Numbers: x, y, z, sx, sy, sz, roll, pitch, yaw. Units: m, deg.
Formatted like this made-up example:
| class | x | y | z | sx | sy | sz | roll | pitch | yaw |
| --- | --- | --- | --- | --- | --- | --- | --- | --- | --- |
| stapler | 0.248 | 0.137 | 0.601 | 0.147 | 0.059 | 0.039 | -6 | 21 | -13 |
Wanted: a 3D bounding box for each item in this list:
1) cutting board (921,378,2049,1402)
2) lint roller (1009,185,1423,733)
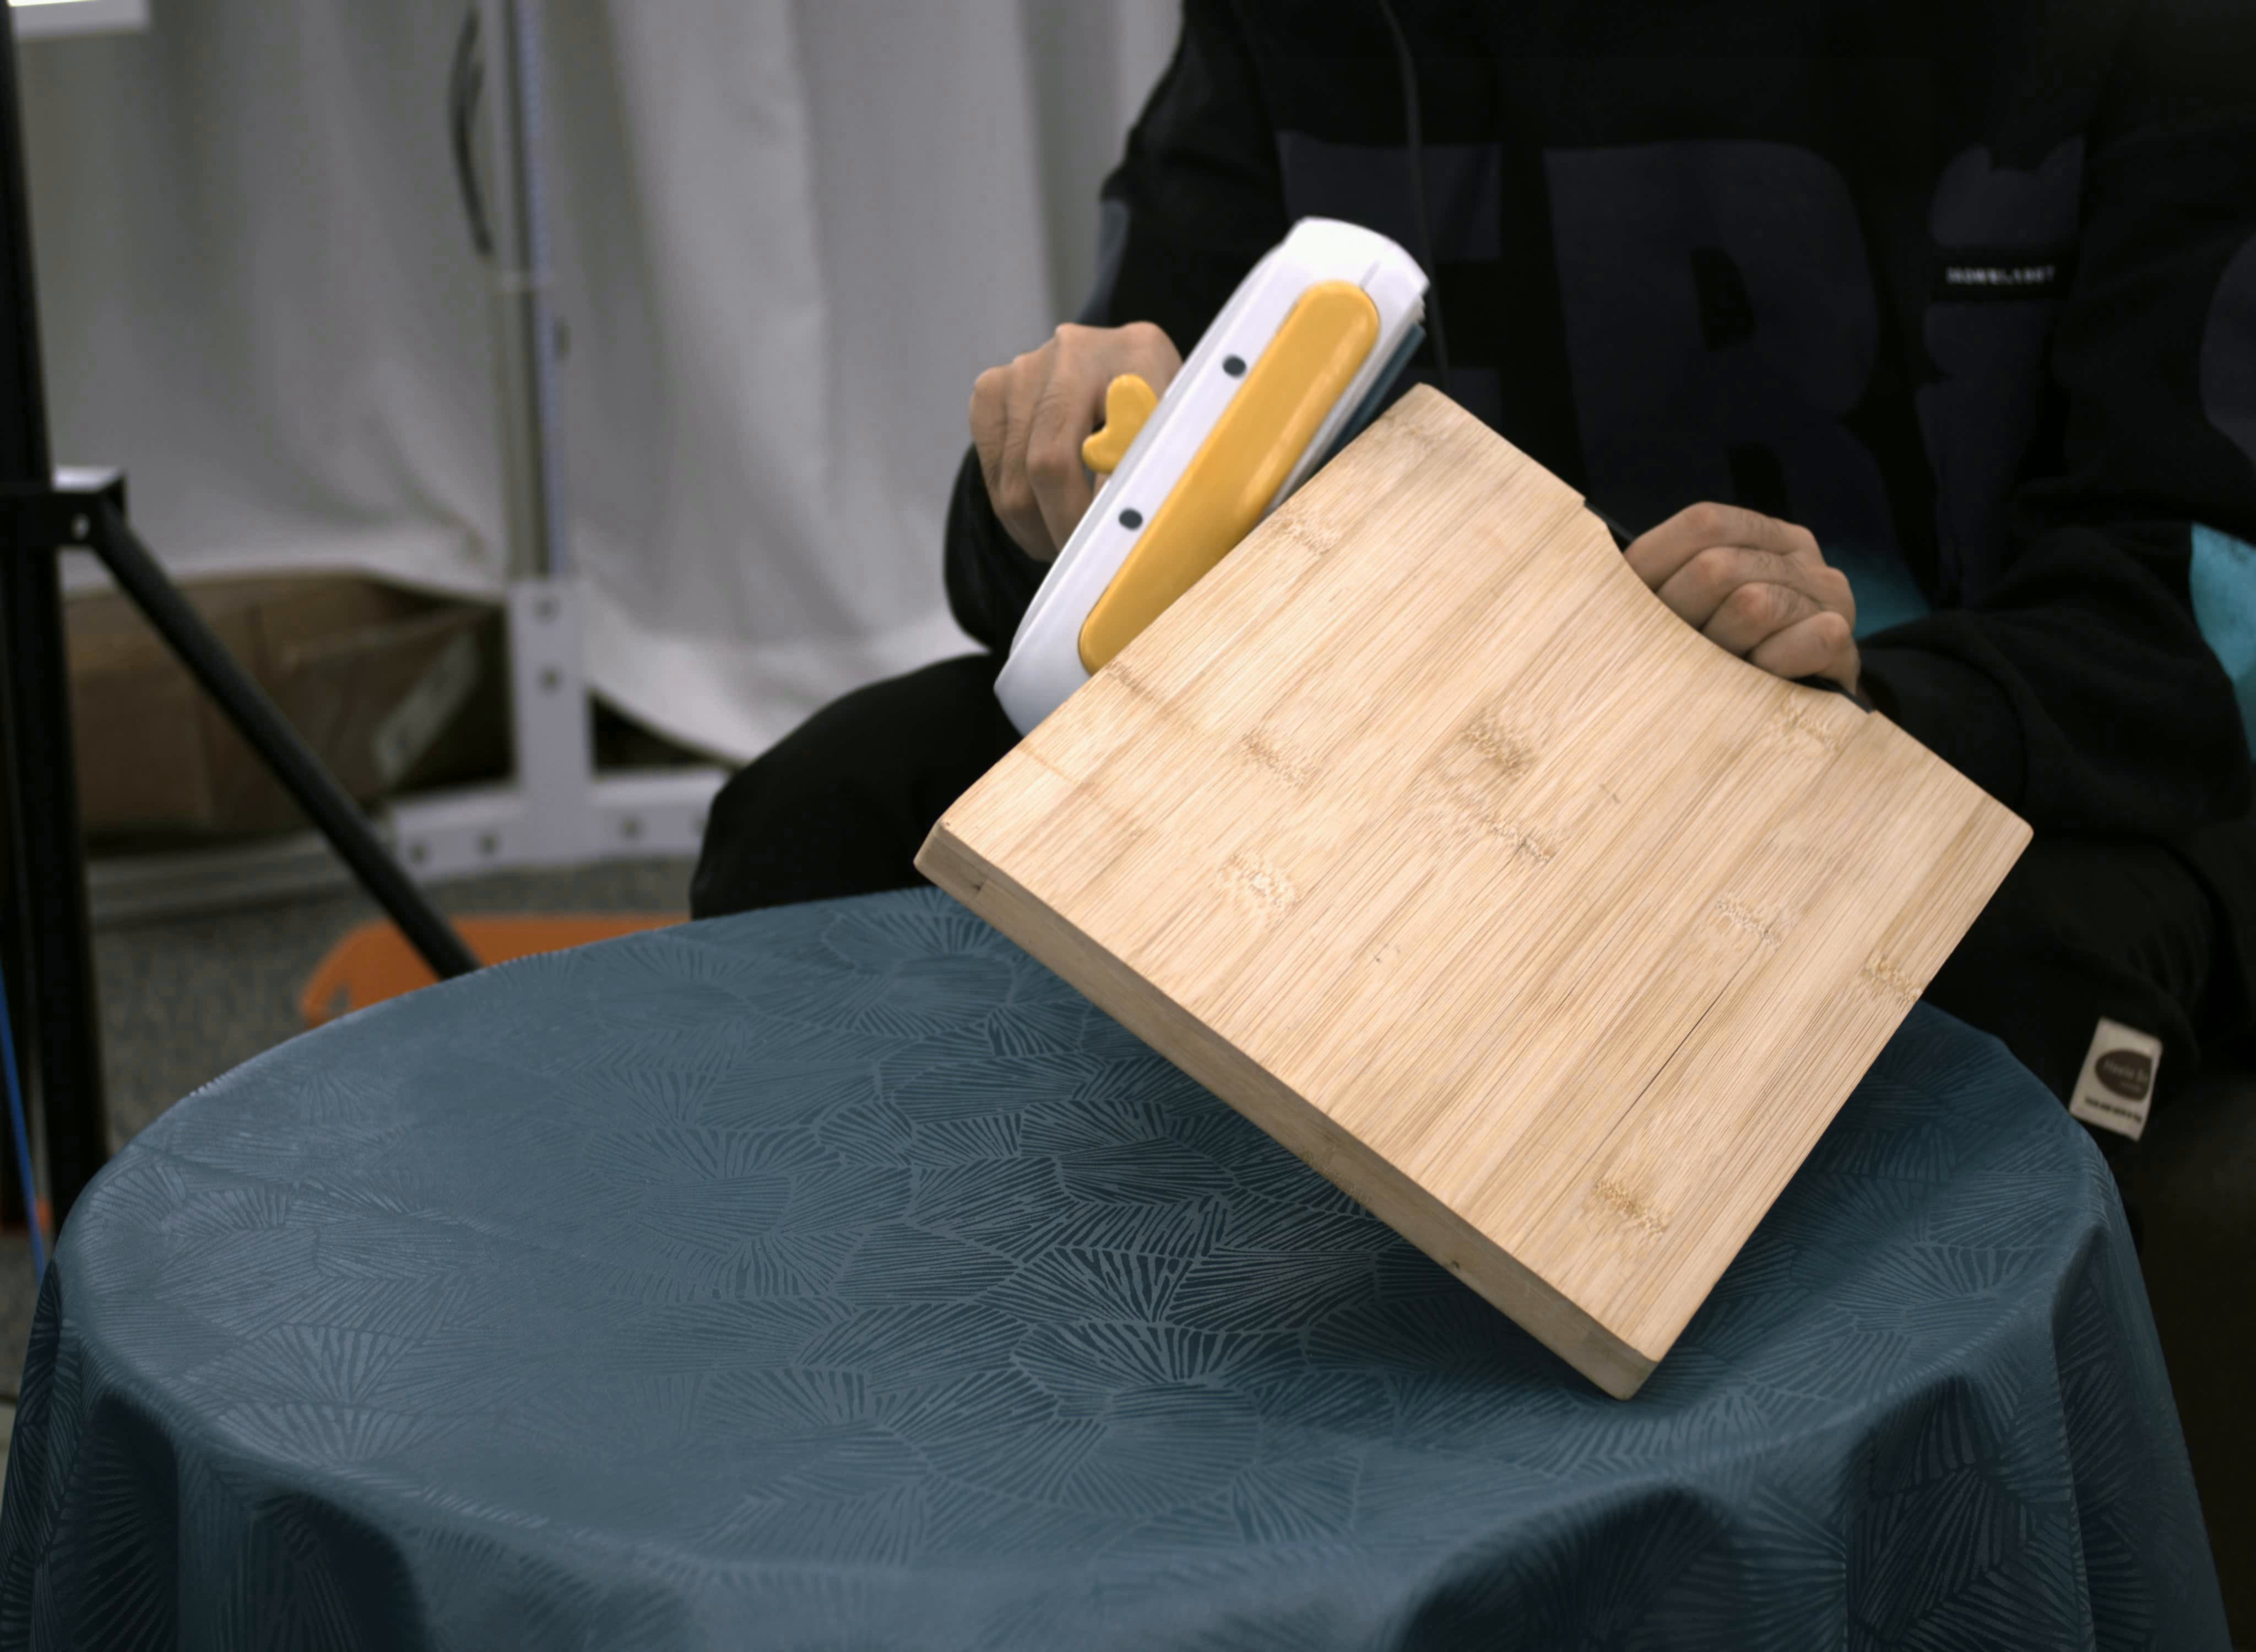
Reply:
| class | x | y | z | sx | sy | sz | roll | pitch | yaw |
| --- | --- | --- | --- | --- | --- | --- | --- | --- | --- |
| cutting board | 0.114 | 0.005 | 1.534 | 0.252 | 0.024 | 0.344 | 36 | 36 | 8 |
| lint roller | 0.010 | -0.110 | 1.709 | 0.073 | 0.193 | 0.194 | 29 | -10 | -9 |
